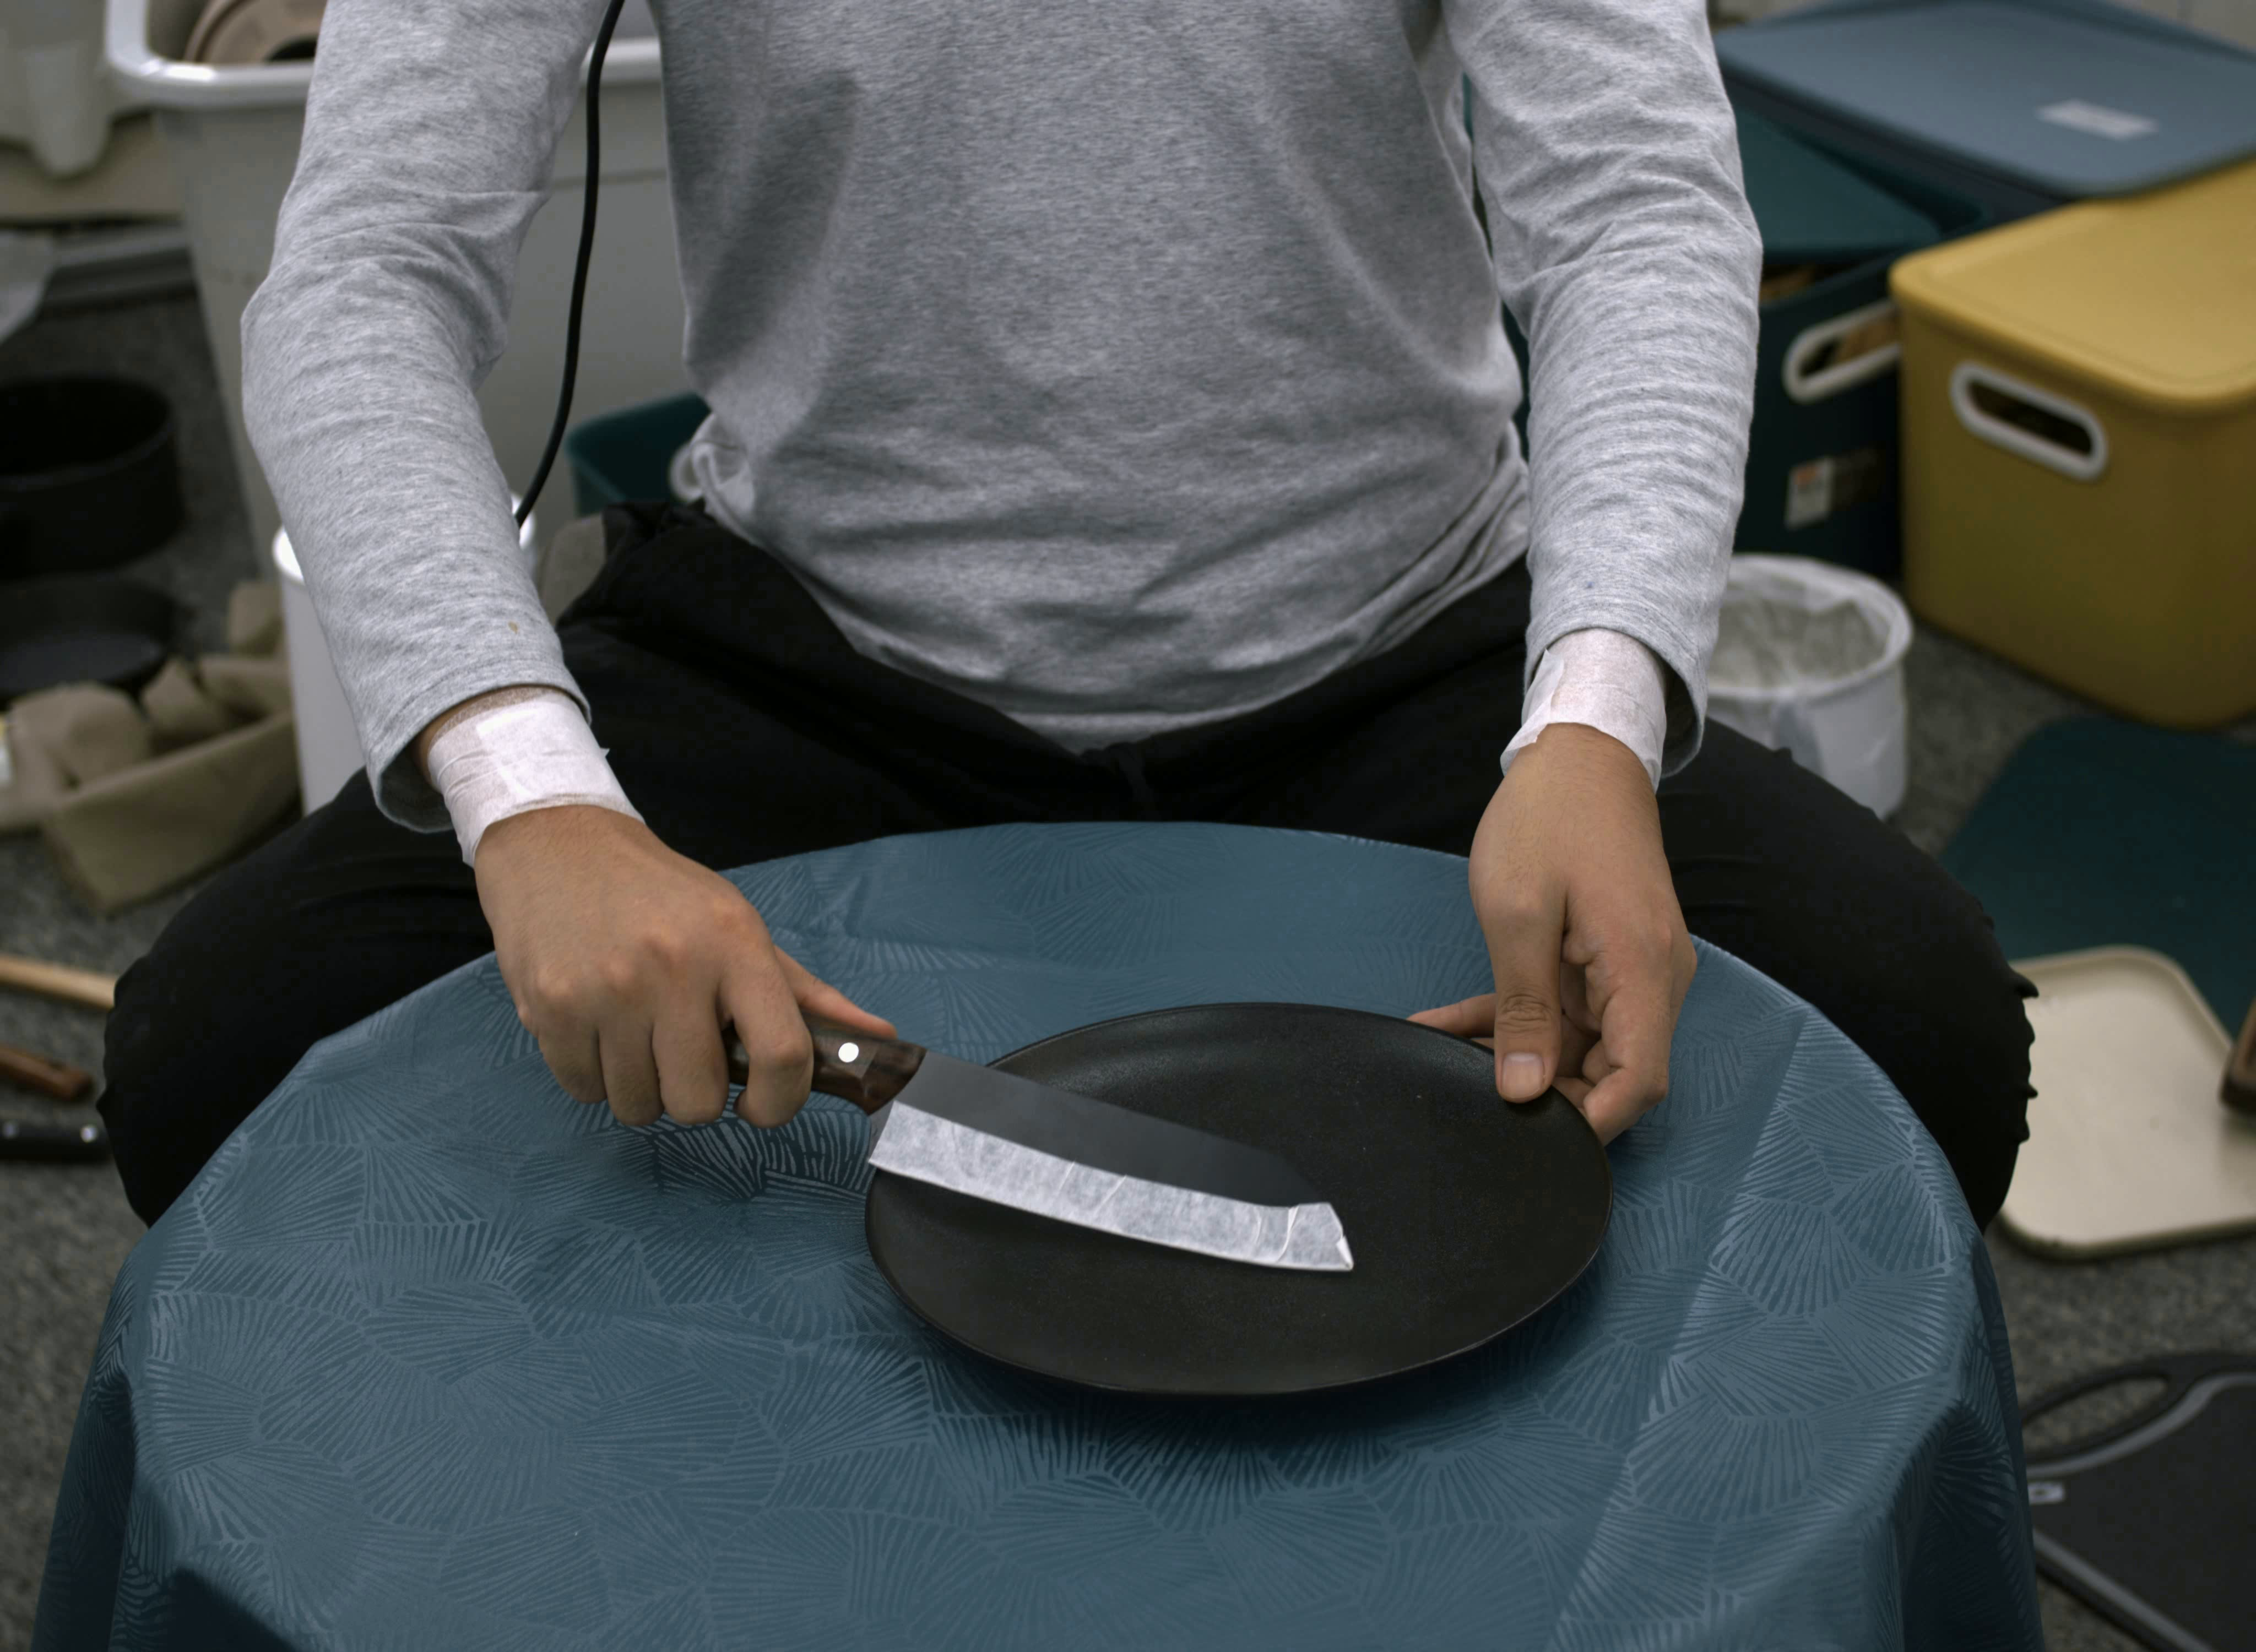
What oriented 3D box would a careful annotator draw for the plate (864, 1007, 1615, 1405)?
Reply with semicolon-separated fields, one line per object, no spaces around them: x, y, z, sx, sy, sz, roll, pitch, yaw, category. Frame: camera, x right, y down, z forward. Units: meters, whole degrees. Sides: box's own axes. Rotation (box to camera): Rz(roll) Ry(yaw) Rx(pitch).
0.036;0.127;1.823;0.243;0.023;0.248;-2;27;1;plate

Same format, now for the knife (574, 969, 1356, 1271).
-0.057;0.097;1.840;0.288;0.020;0.051;17;69;19;knife
